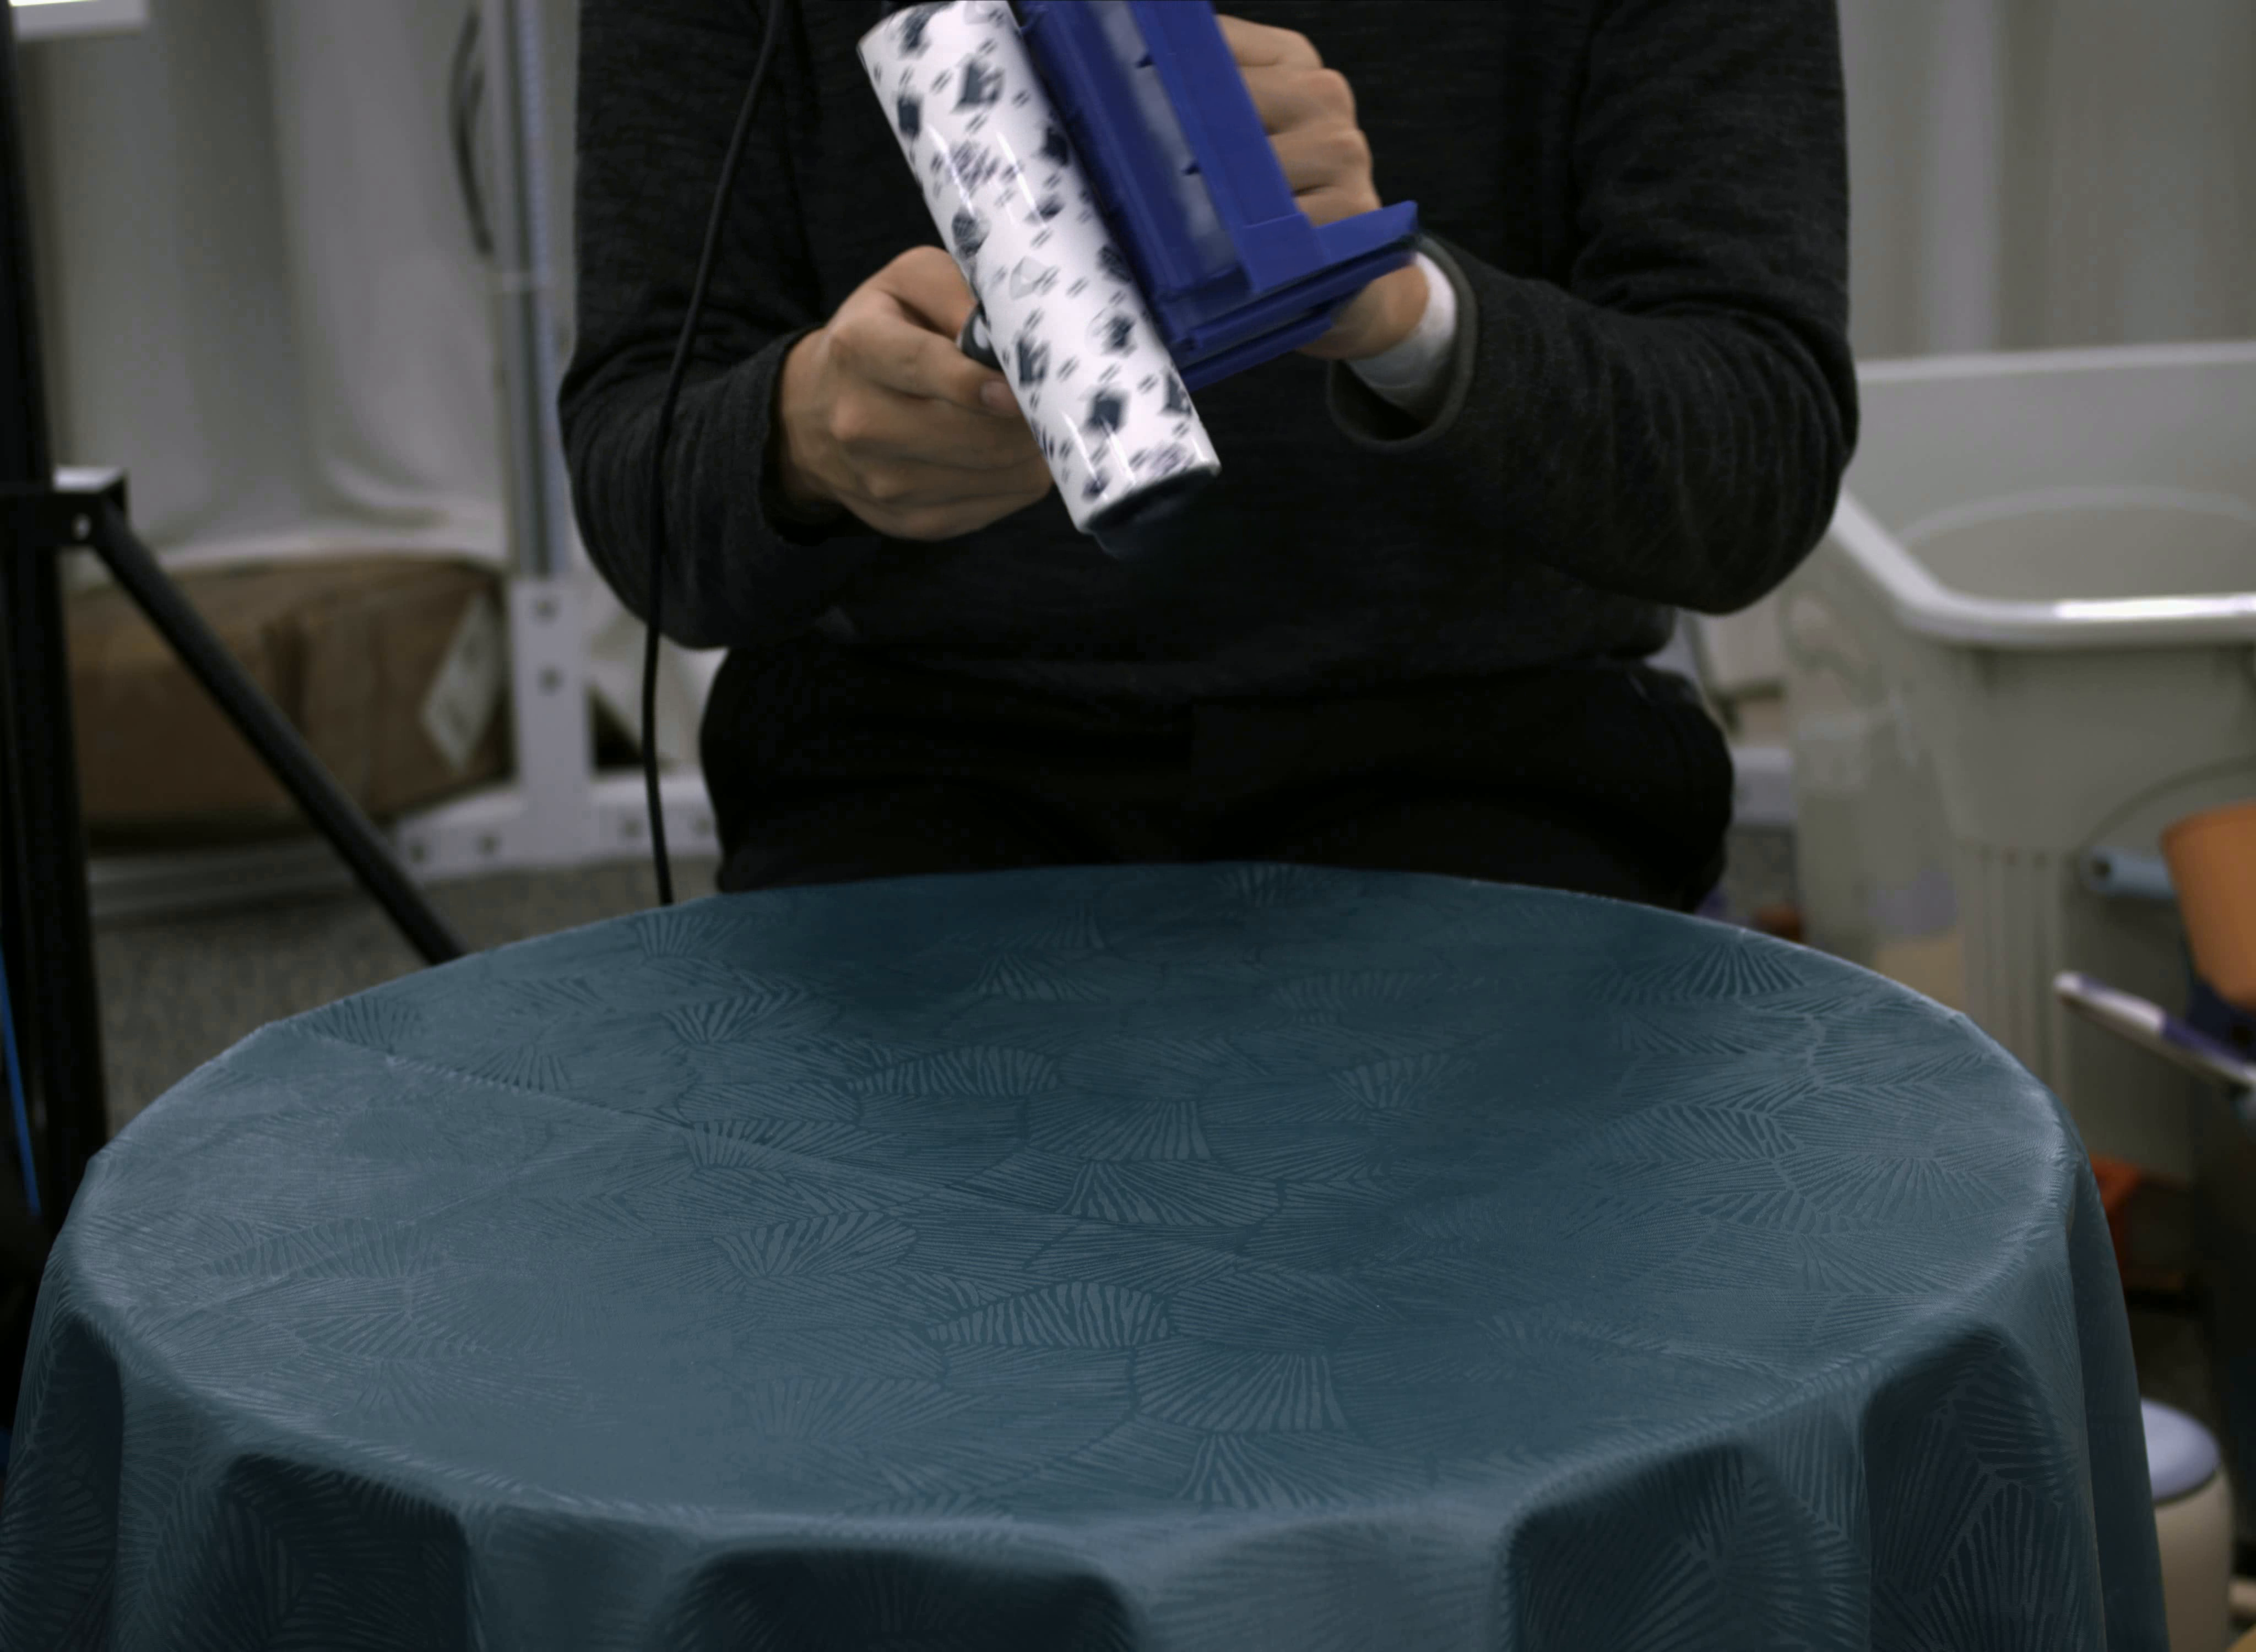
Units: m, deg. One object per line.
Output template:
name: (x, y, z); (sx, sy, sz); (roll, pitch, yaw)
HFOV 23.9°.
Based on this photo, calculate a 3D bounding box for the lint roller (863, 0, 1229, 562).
lint roller: (-0.040, -0.144, 1.674); (0.050, 0.178, 0.248); (-23, -9, -14)

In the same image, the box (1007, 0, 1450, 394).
box: (0.026, -0.207, 1.595); (0.081, 0.125, 0.180); (-22, -3, -12)
